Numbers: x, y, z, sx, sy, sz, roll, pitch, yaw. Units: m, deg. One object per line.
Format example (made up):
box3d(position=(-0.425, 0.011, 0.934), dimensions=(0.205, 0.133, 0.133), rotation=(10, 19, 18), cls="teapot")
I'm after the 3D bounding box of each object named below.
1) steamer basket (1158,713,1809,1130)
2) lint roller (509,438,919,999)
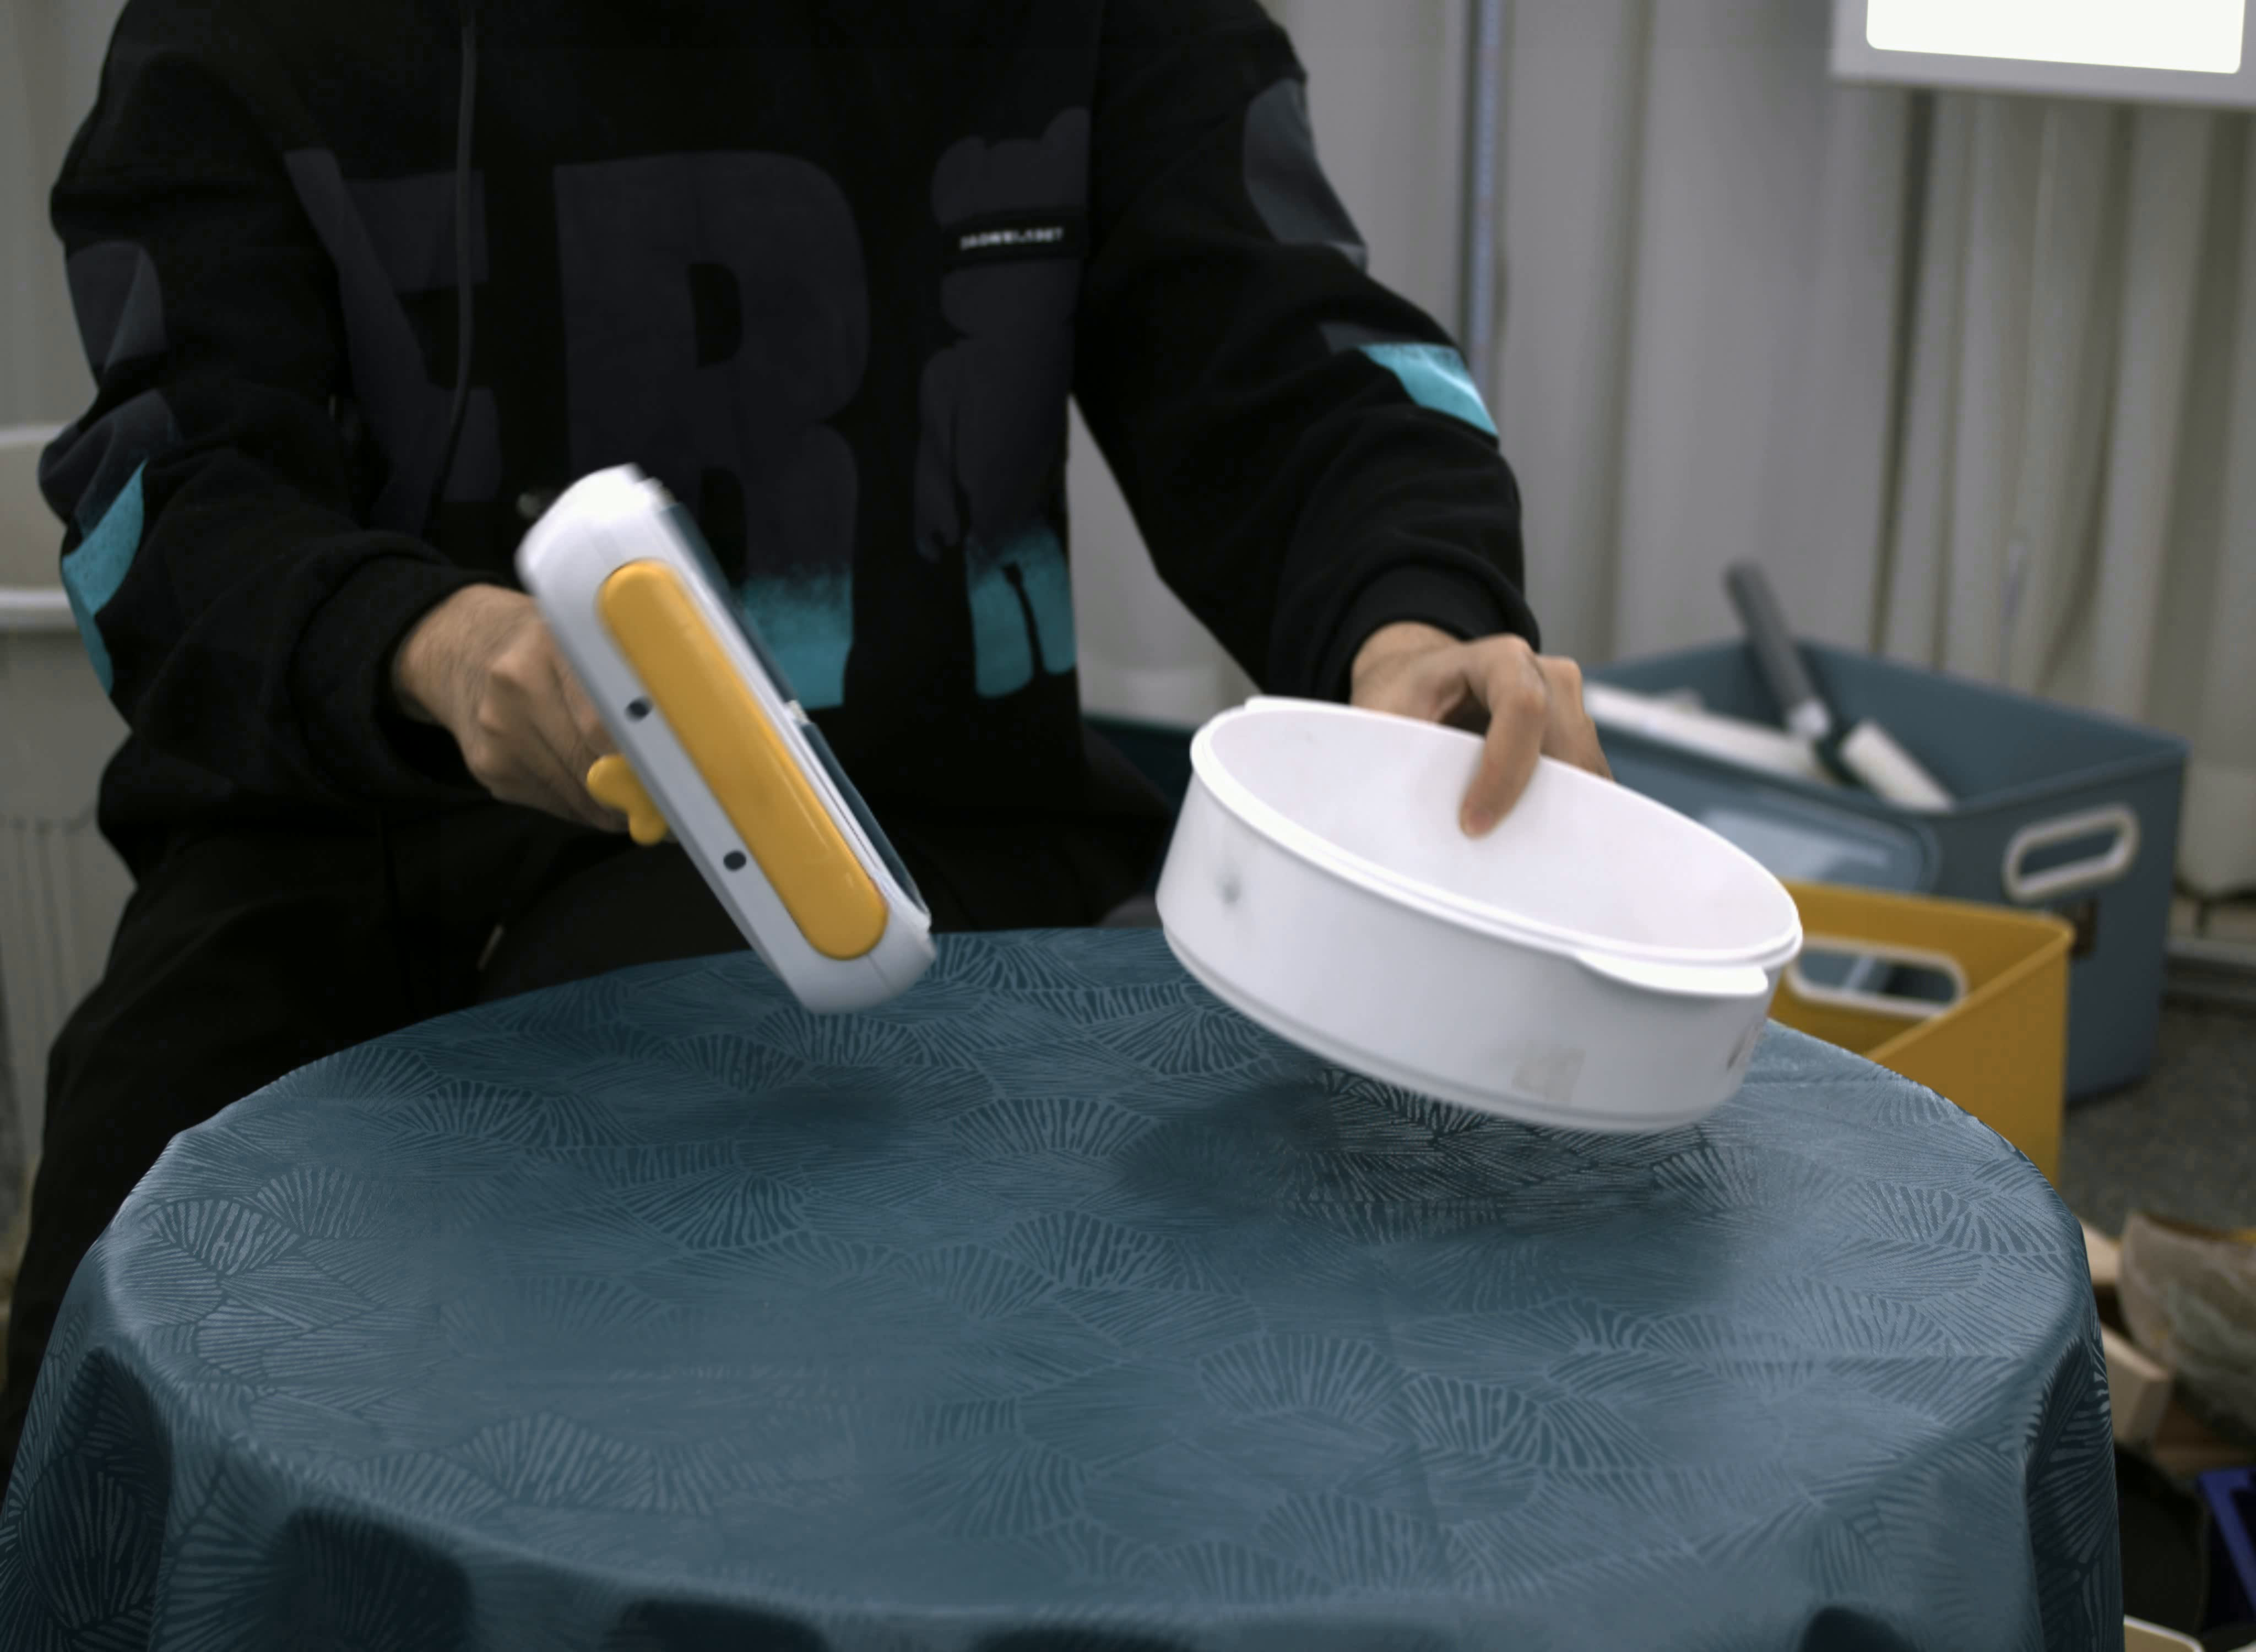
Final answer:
box3d(position=(0.108, 0.031, 1.644), dimensions=(0.203, 0.069, 0.227), rotation=(8, 17, -35), cls="steamer basket")
box3d(position=(-0.147, -0.033, 1.719), dimensions=(0.074, 0.194, 0.191), rotation=(-36, 12, -7), cls="lint roller")
